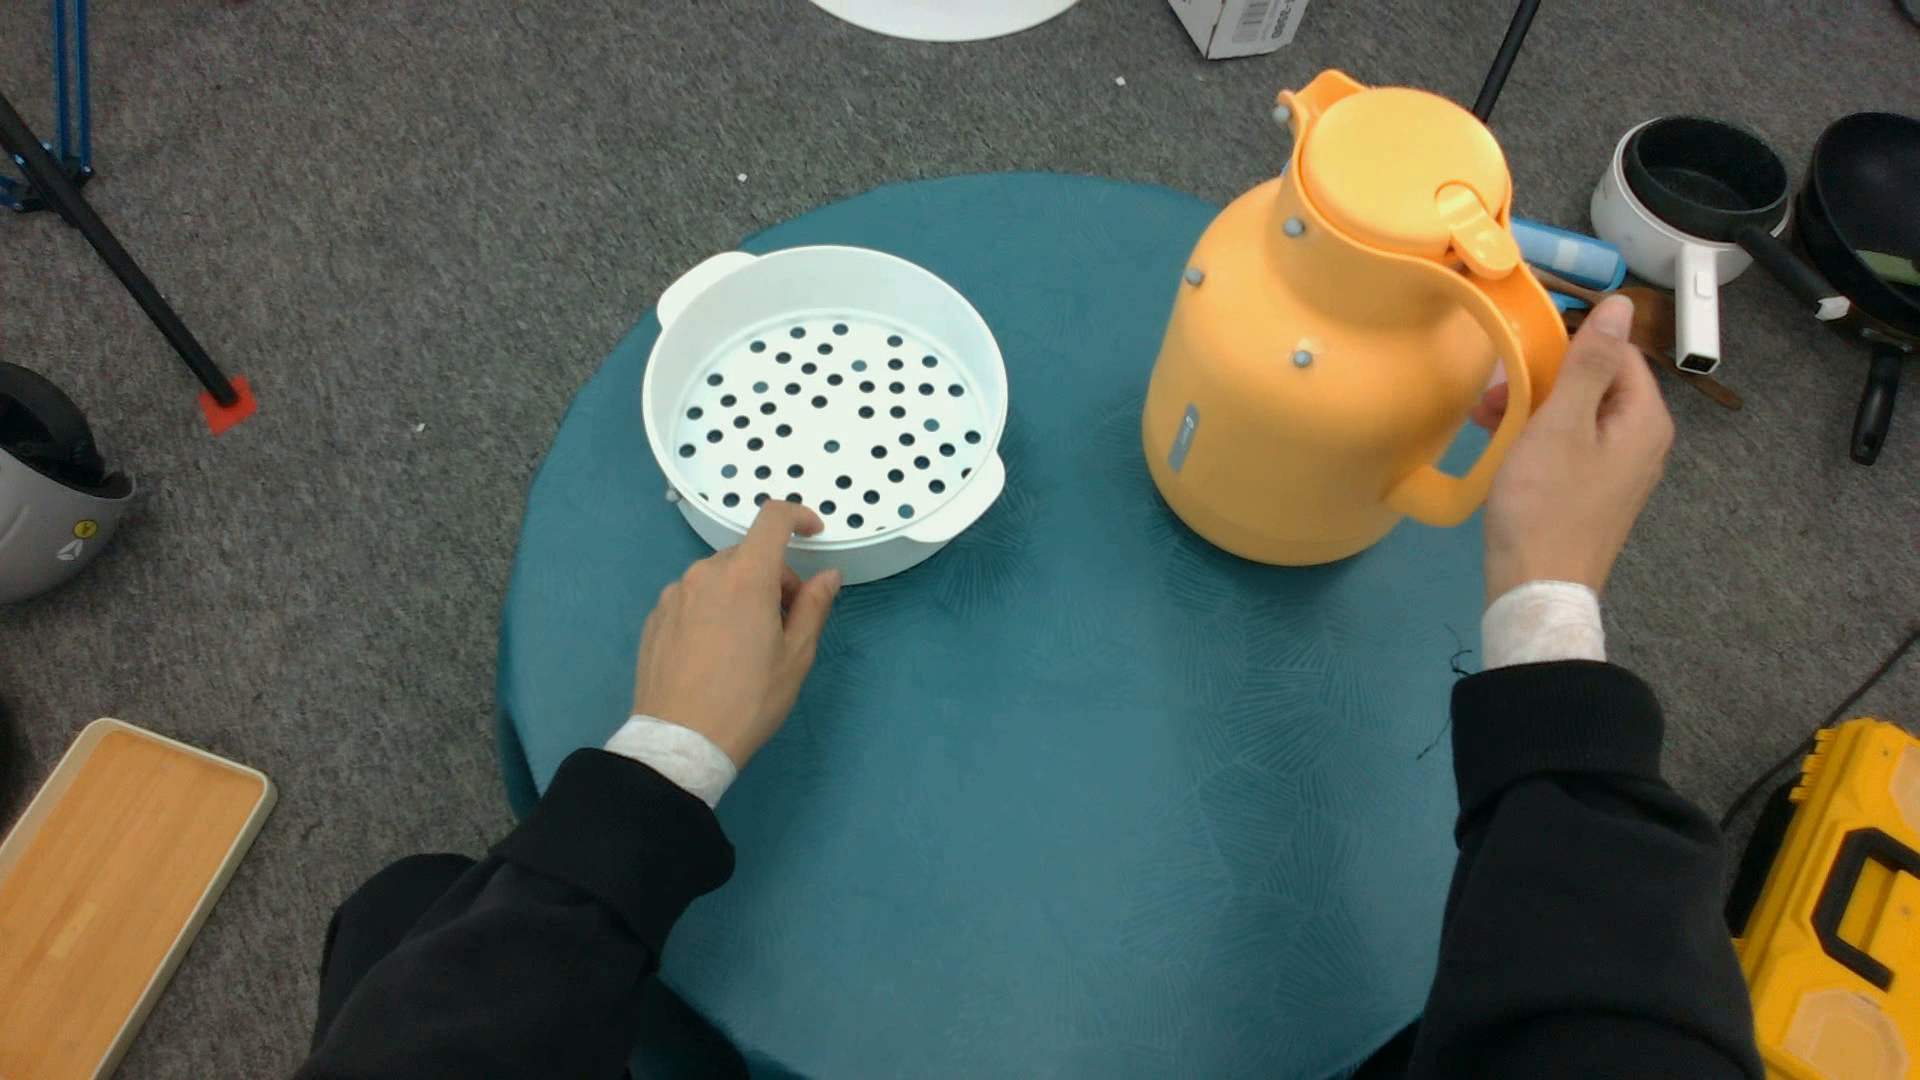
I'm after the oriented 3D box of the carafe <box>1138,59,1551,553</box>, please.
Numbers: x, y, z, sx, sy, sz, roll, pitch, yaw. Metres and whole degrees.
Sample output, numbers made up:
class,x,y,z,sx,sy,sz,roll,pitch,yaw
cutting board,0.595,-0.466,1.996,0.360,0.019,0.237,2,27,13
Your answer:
class,x,y,z,sx,sy,sz,roll,pitch,yaw
carafe,0.193,-0.098,0.701,0.164,0.259,0.203,-26,64,-14

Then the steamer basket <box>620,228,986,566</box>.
class,x,y,z,sx,sy,sz,roll,pitch,yaw
steamer basket,-0.086,-0.081,0.783,0.230,0.069,0.202,38,67,19
